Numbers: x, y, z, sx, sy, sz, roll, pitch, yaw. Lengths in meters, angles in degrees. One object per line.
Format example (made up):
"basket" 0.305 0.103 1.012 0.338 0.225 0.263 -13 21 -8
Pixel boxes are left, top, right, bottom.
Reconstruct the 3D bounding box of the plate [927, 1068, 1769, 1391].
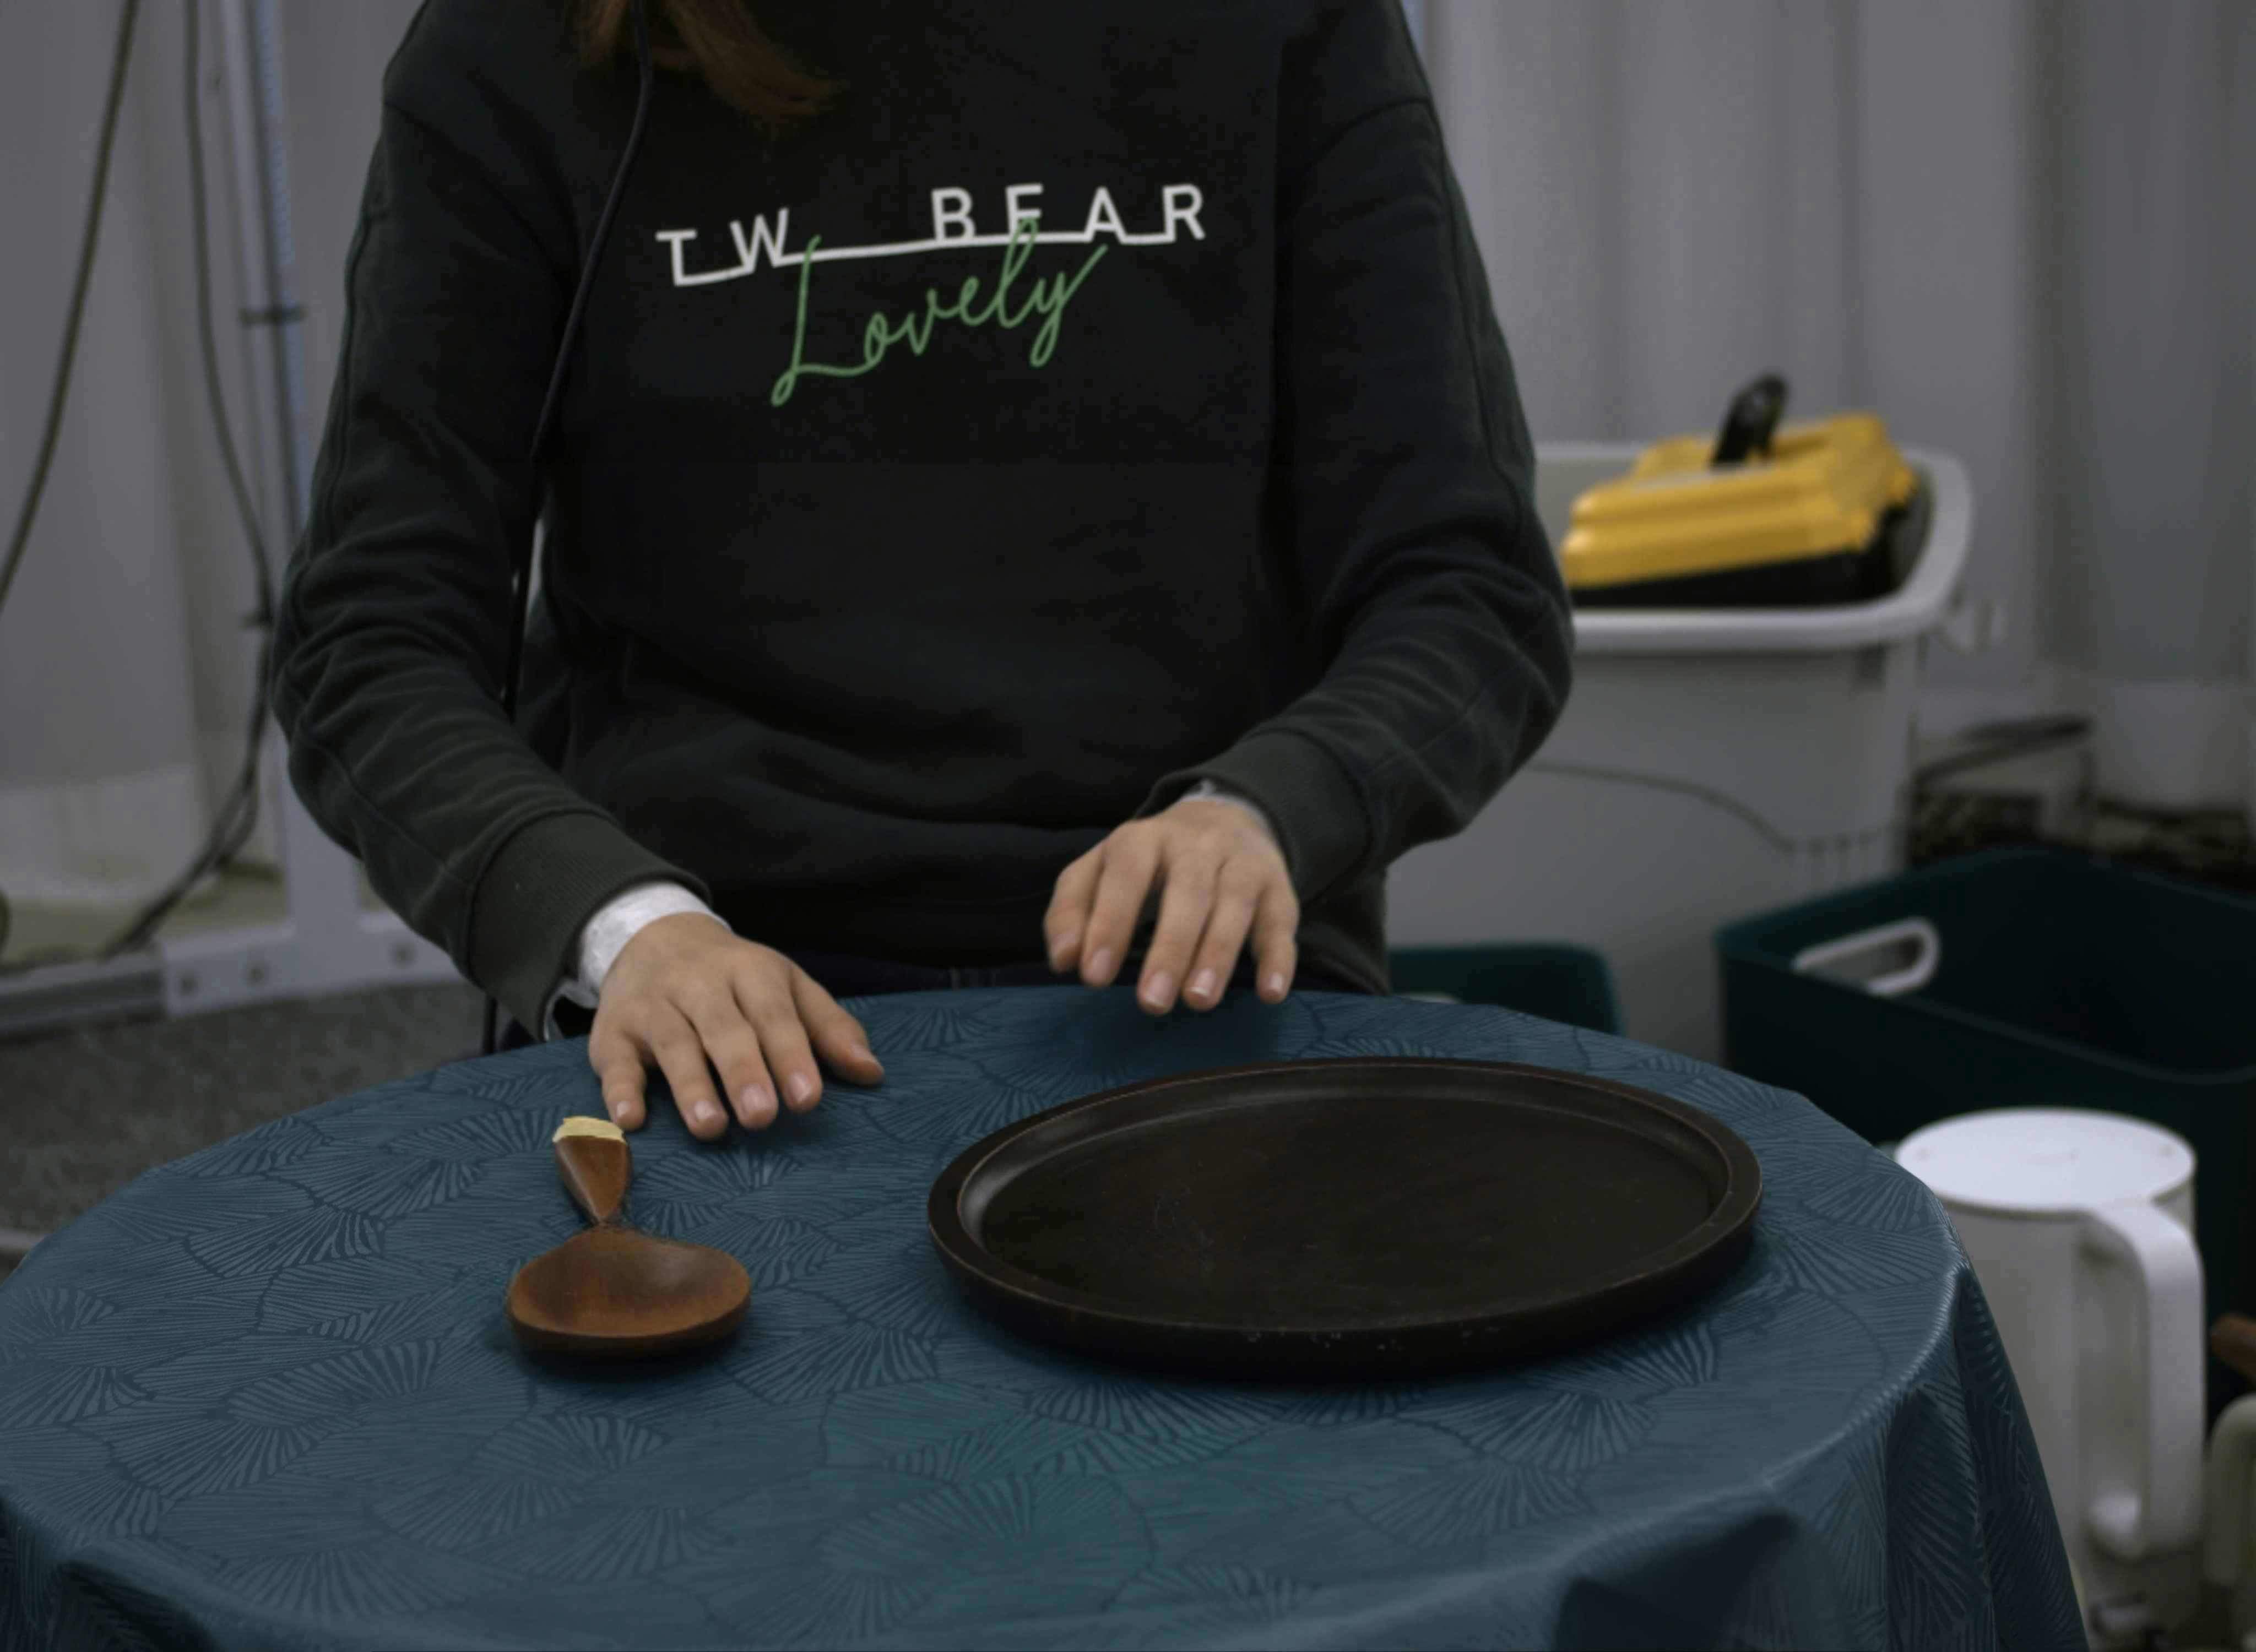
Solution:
"plate" 0.066 0.118 1.647 0.254 0.029 0.256 -2 16 0

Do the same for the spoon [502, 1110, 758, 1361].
"spoon" -0.157 0.126 1.669 0.075 0.017 0.217 -5 16 -9
